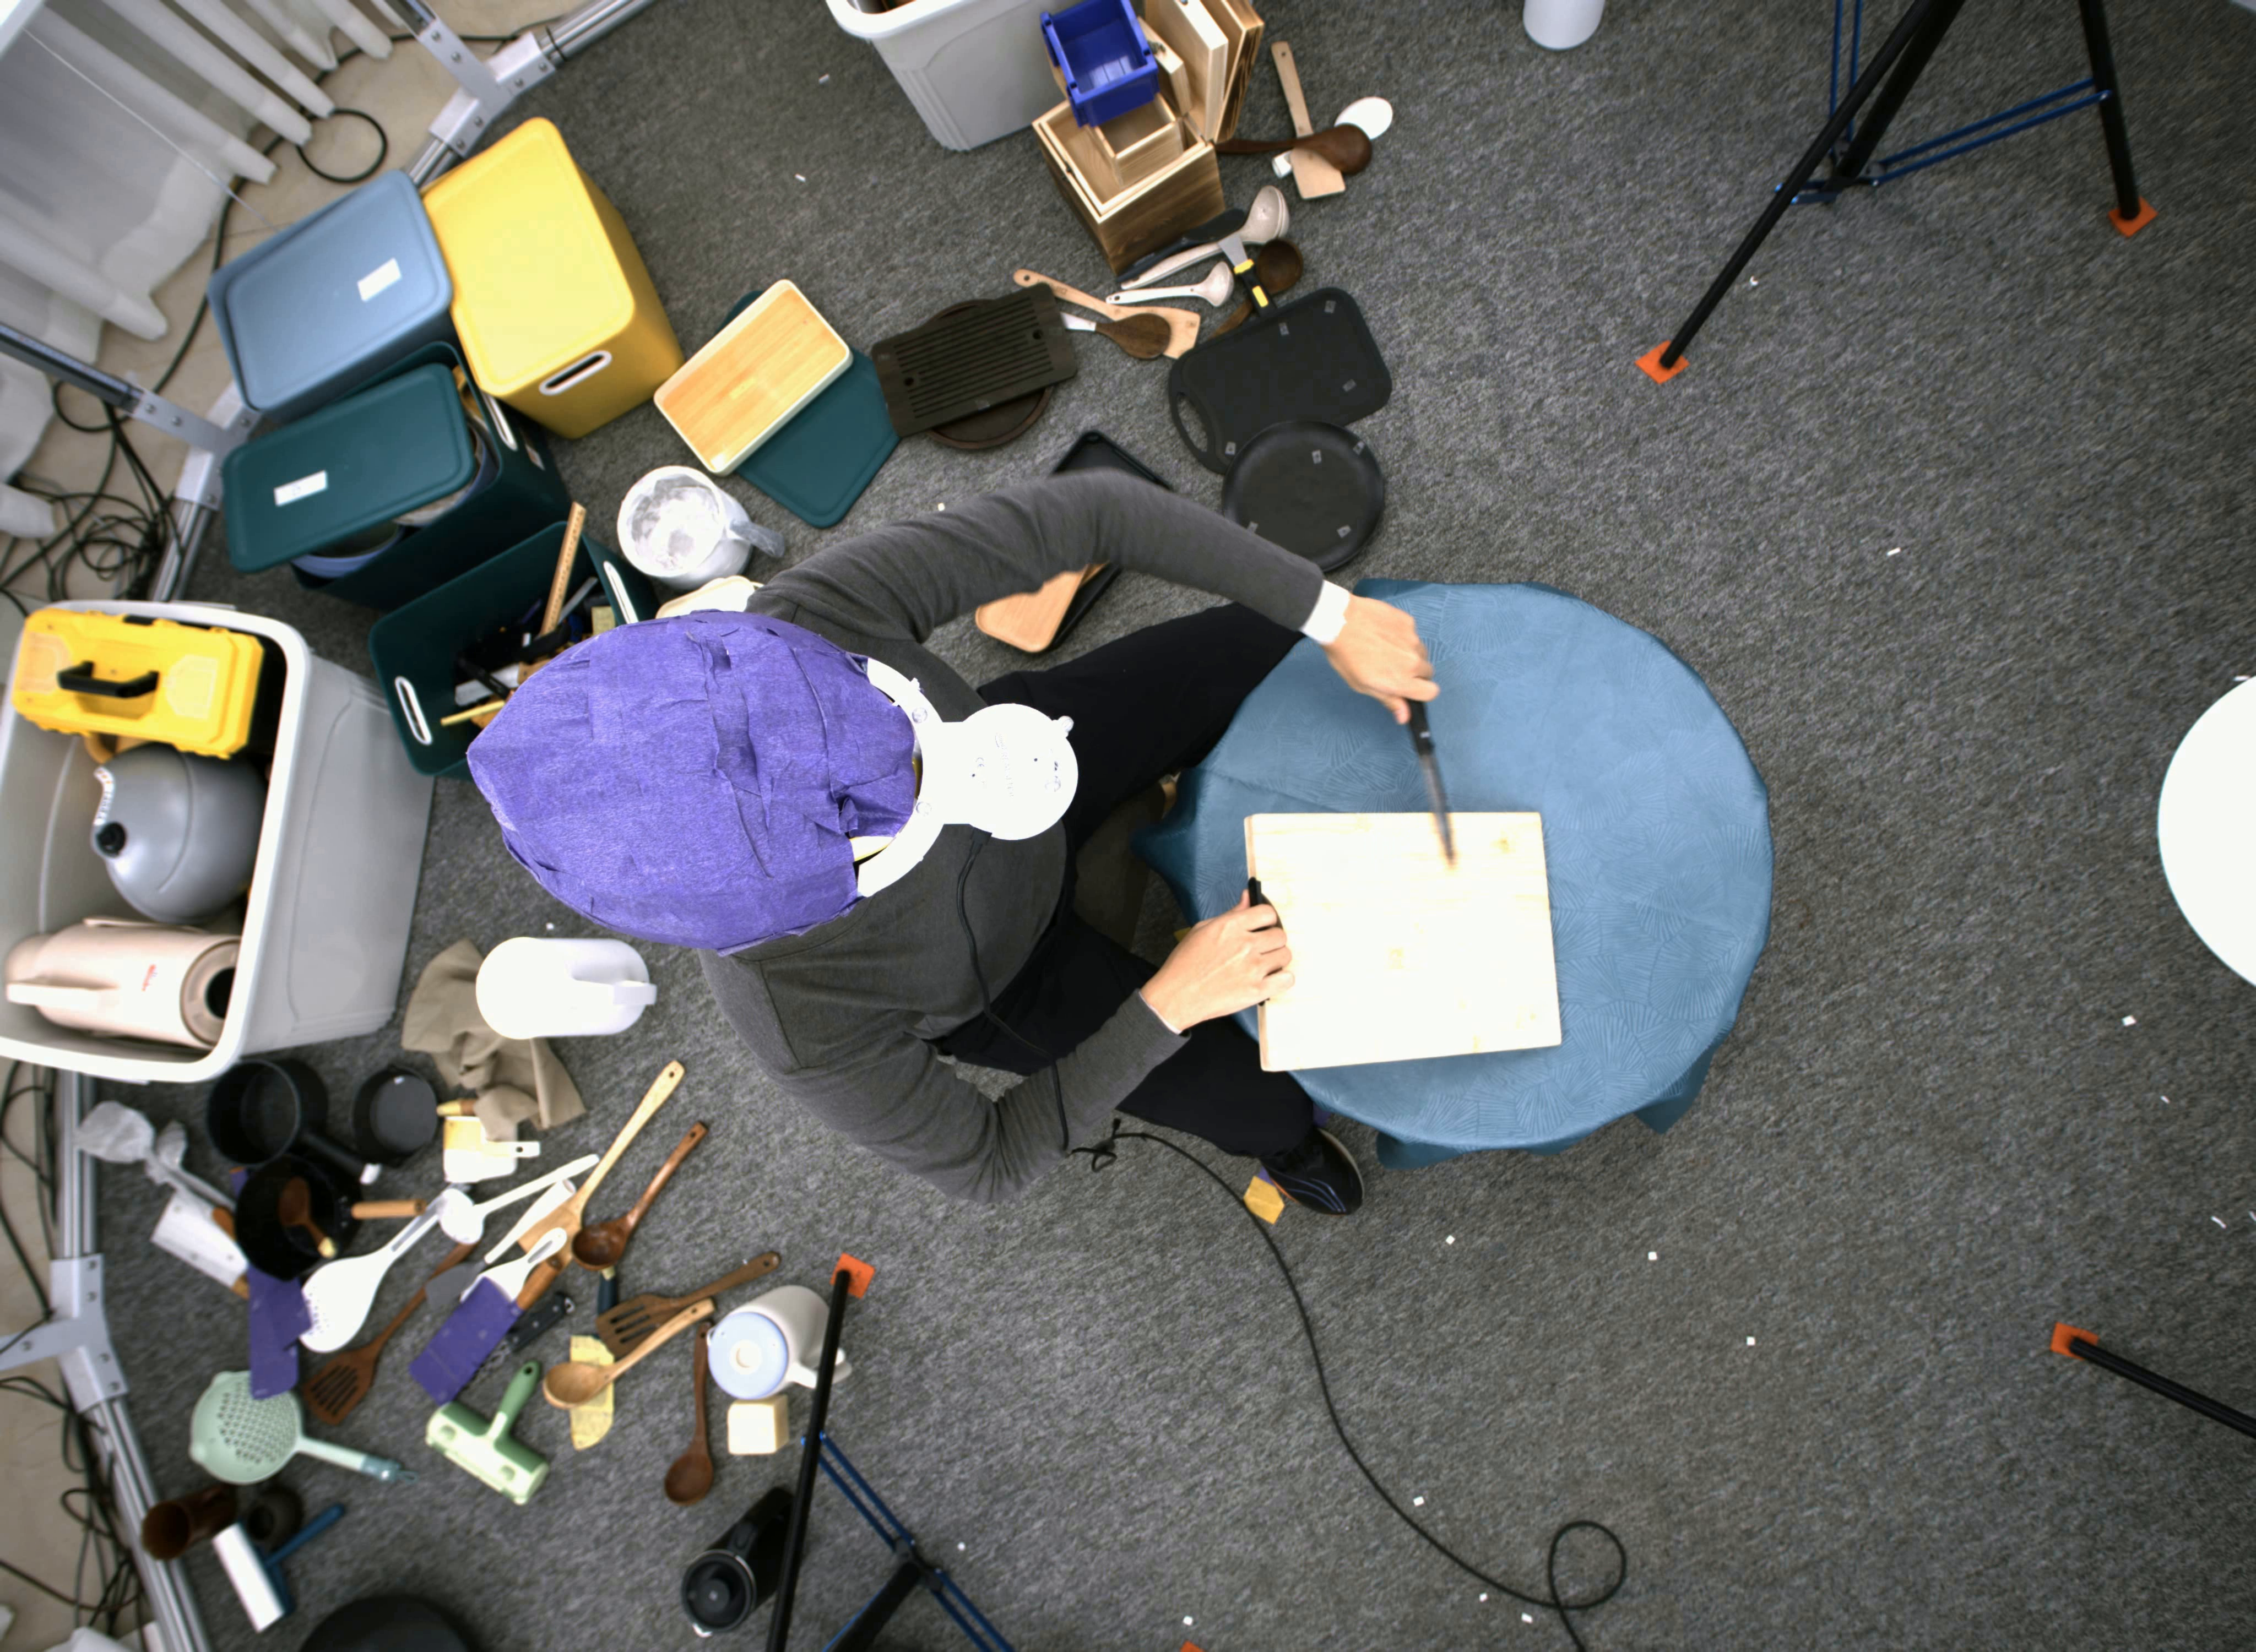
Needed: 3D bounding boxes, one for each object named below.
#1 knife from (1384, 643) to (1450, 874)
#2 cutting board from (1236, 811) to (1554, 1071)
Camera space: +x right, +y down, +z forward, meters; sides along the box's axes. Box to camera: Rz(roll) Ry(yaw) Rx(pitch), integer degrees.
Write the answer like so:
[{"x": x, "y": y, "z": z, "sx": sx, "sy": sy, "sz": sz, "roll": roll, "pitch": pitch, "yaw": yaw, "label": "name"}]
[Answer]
[{"x": 0.290, "y": -0.069, "z": 1.371, "sx": 0.024, "sy": 0.016, "sz": 0.237, "roll": -11, "pitch": 87, "yaw": -29, "label": "knife"}, {"x": 0.270, "y": 0.105, "z": 1.356, "sx": 0.347, "sy": 0.024, "sz": 0.249, "roll": -2, "pitch": 85, "yaw": -23, "label": "cutting board"}]
